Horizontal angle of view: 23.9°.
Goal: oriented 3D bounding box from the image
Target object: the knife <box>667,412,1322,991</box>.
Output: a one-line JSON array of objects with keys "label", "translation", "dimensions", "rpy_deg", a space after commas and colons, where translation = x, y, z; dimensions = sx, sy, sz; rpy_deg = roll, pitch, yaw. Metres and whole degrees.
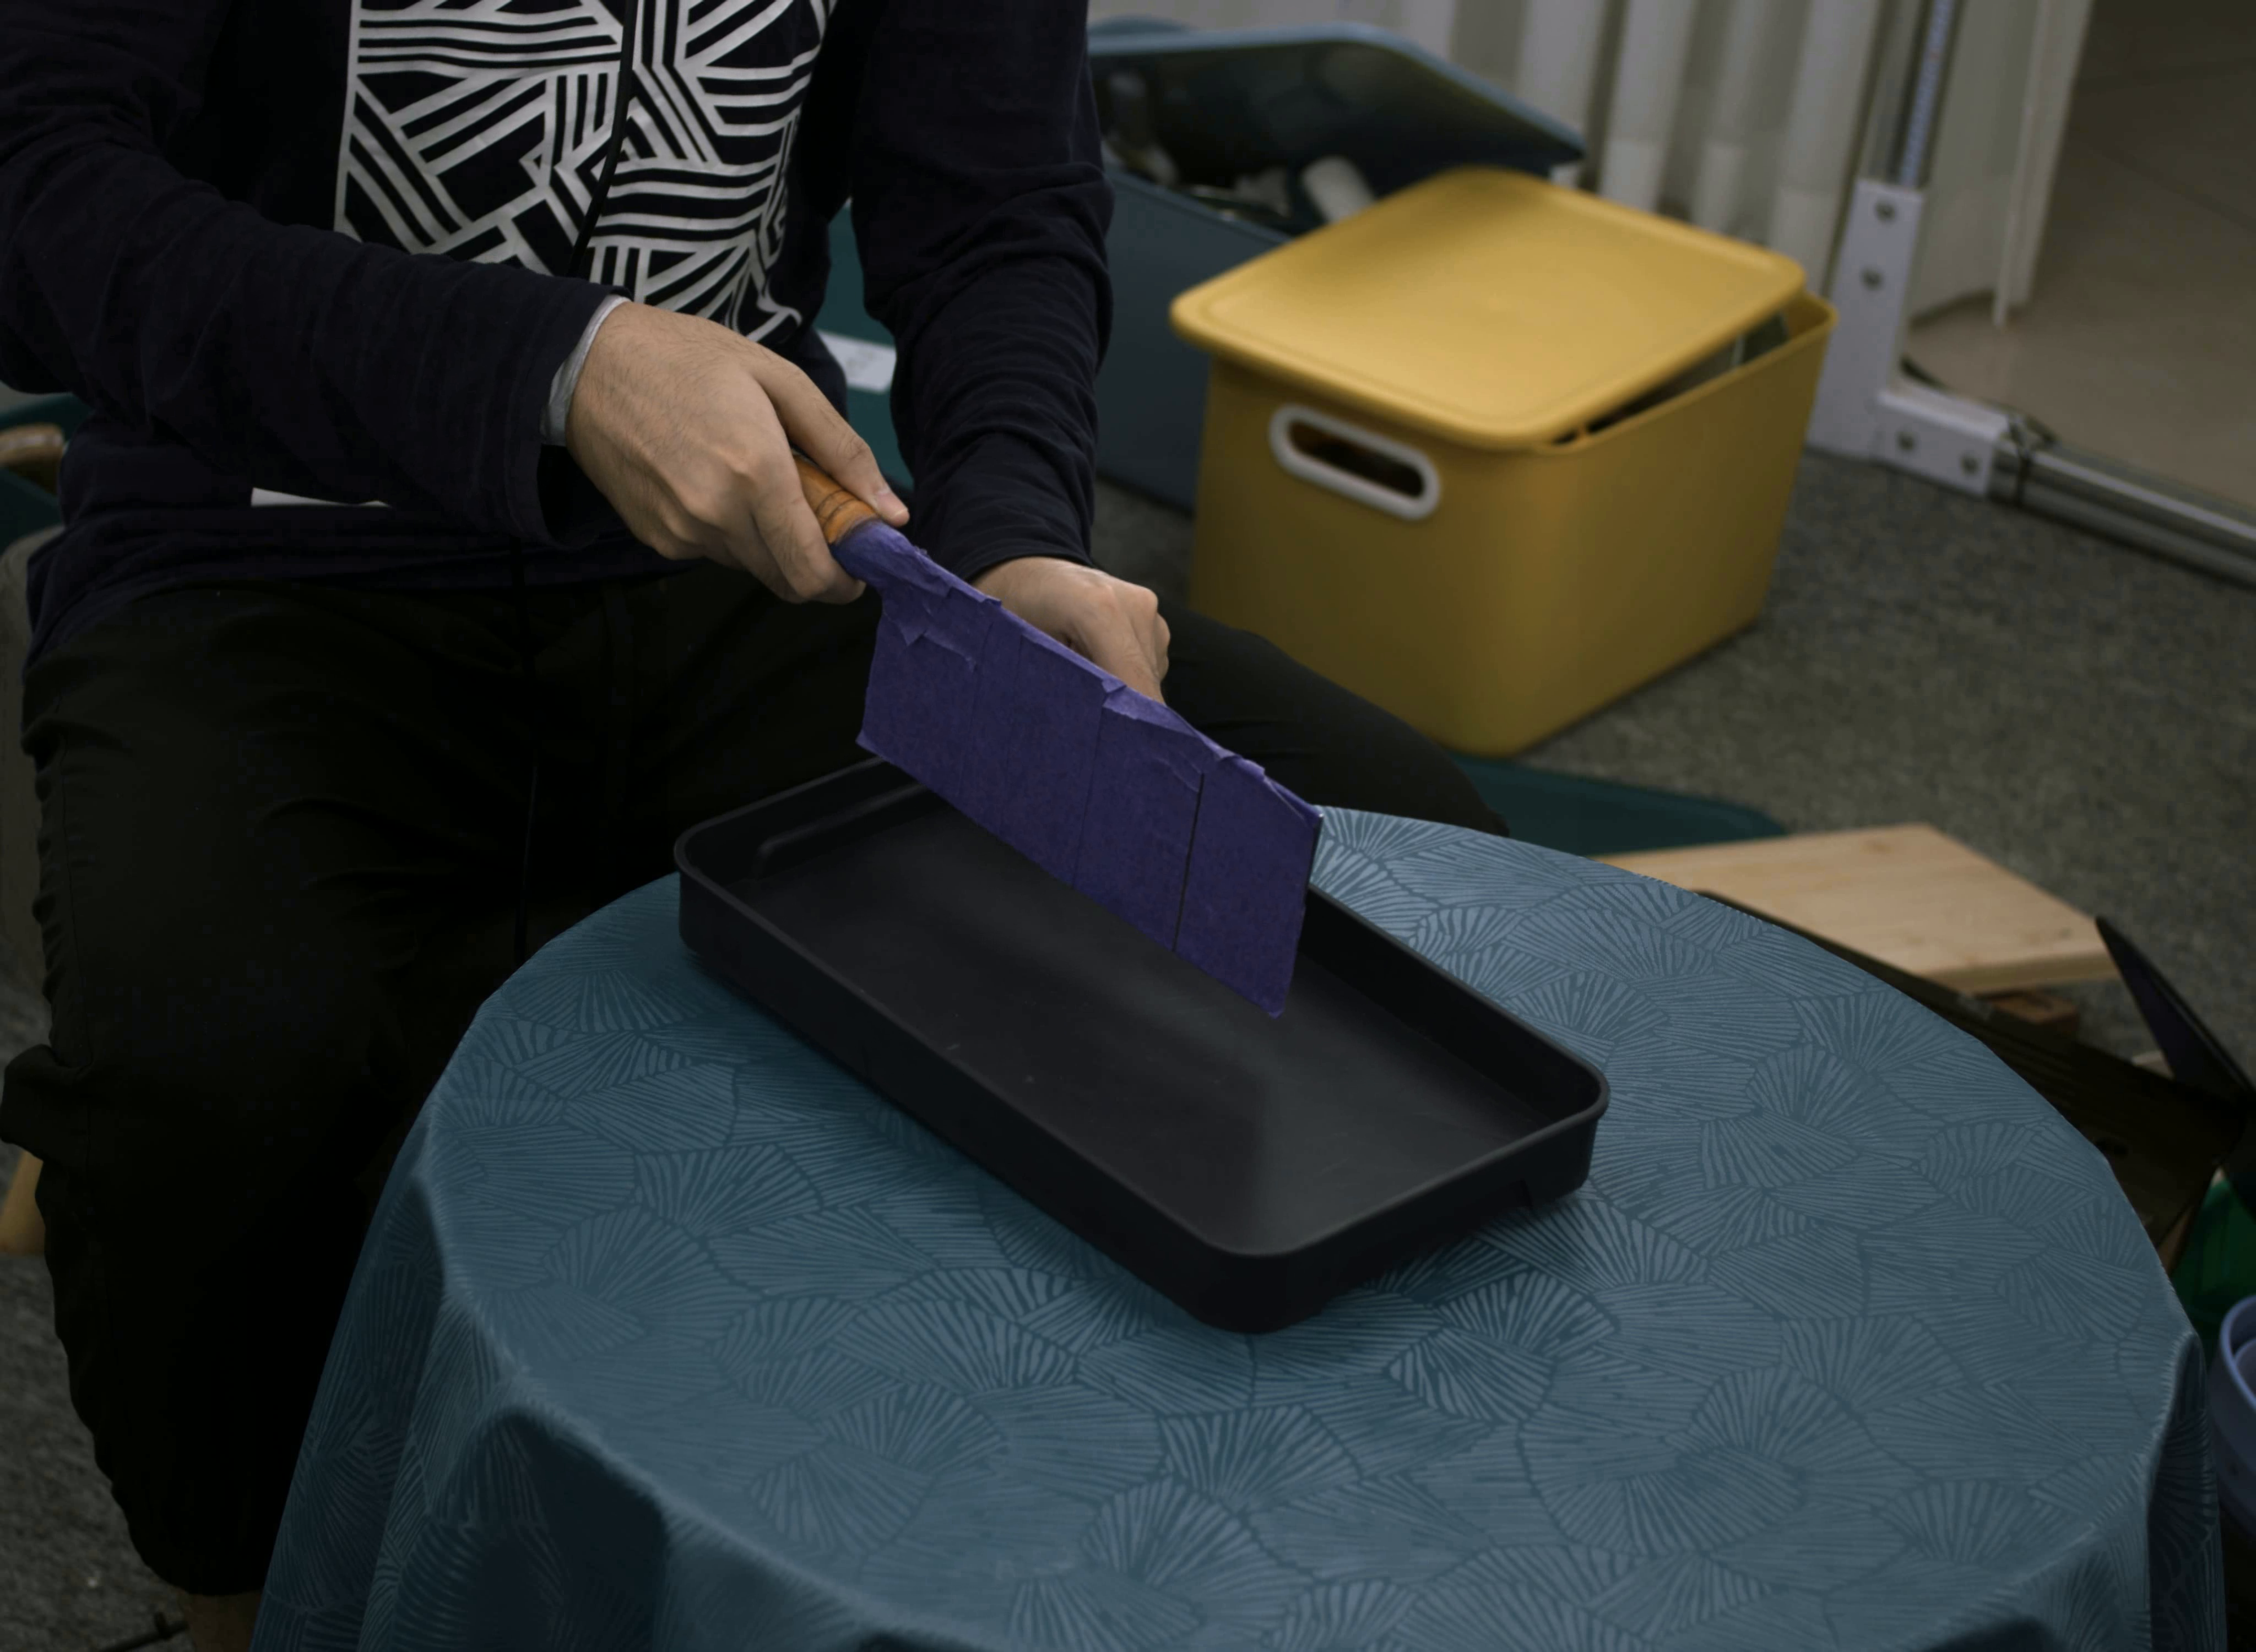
[{"label": "knife", "translation": [-0.055, -0.043, 1.907], "dimensions": [0.317, 0.103, 0.032], "rpy_deg": [34, 39, 32]}]

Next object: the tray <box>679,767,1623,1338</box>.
[{"label": "tray", "translation": [0.003, 0.066, 1.863], "dimensions": [0.183, 0.037, 0.320], "rpy_deg": [-22, 39, -37]}]
